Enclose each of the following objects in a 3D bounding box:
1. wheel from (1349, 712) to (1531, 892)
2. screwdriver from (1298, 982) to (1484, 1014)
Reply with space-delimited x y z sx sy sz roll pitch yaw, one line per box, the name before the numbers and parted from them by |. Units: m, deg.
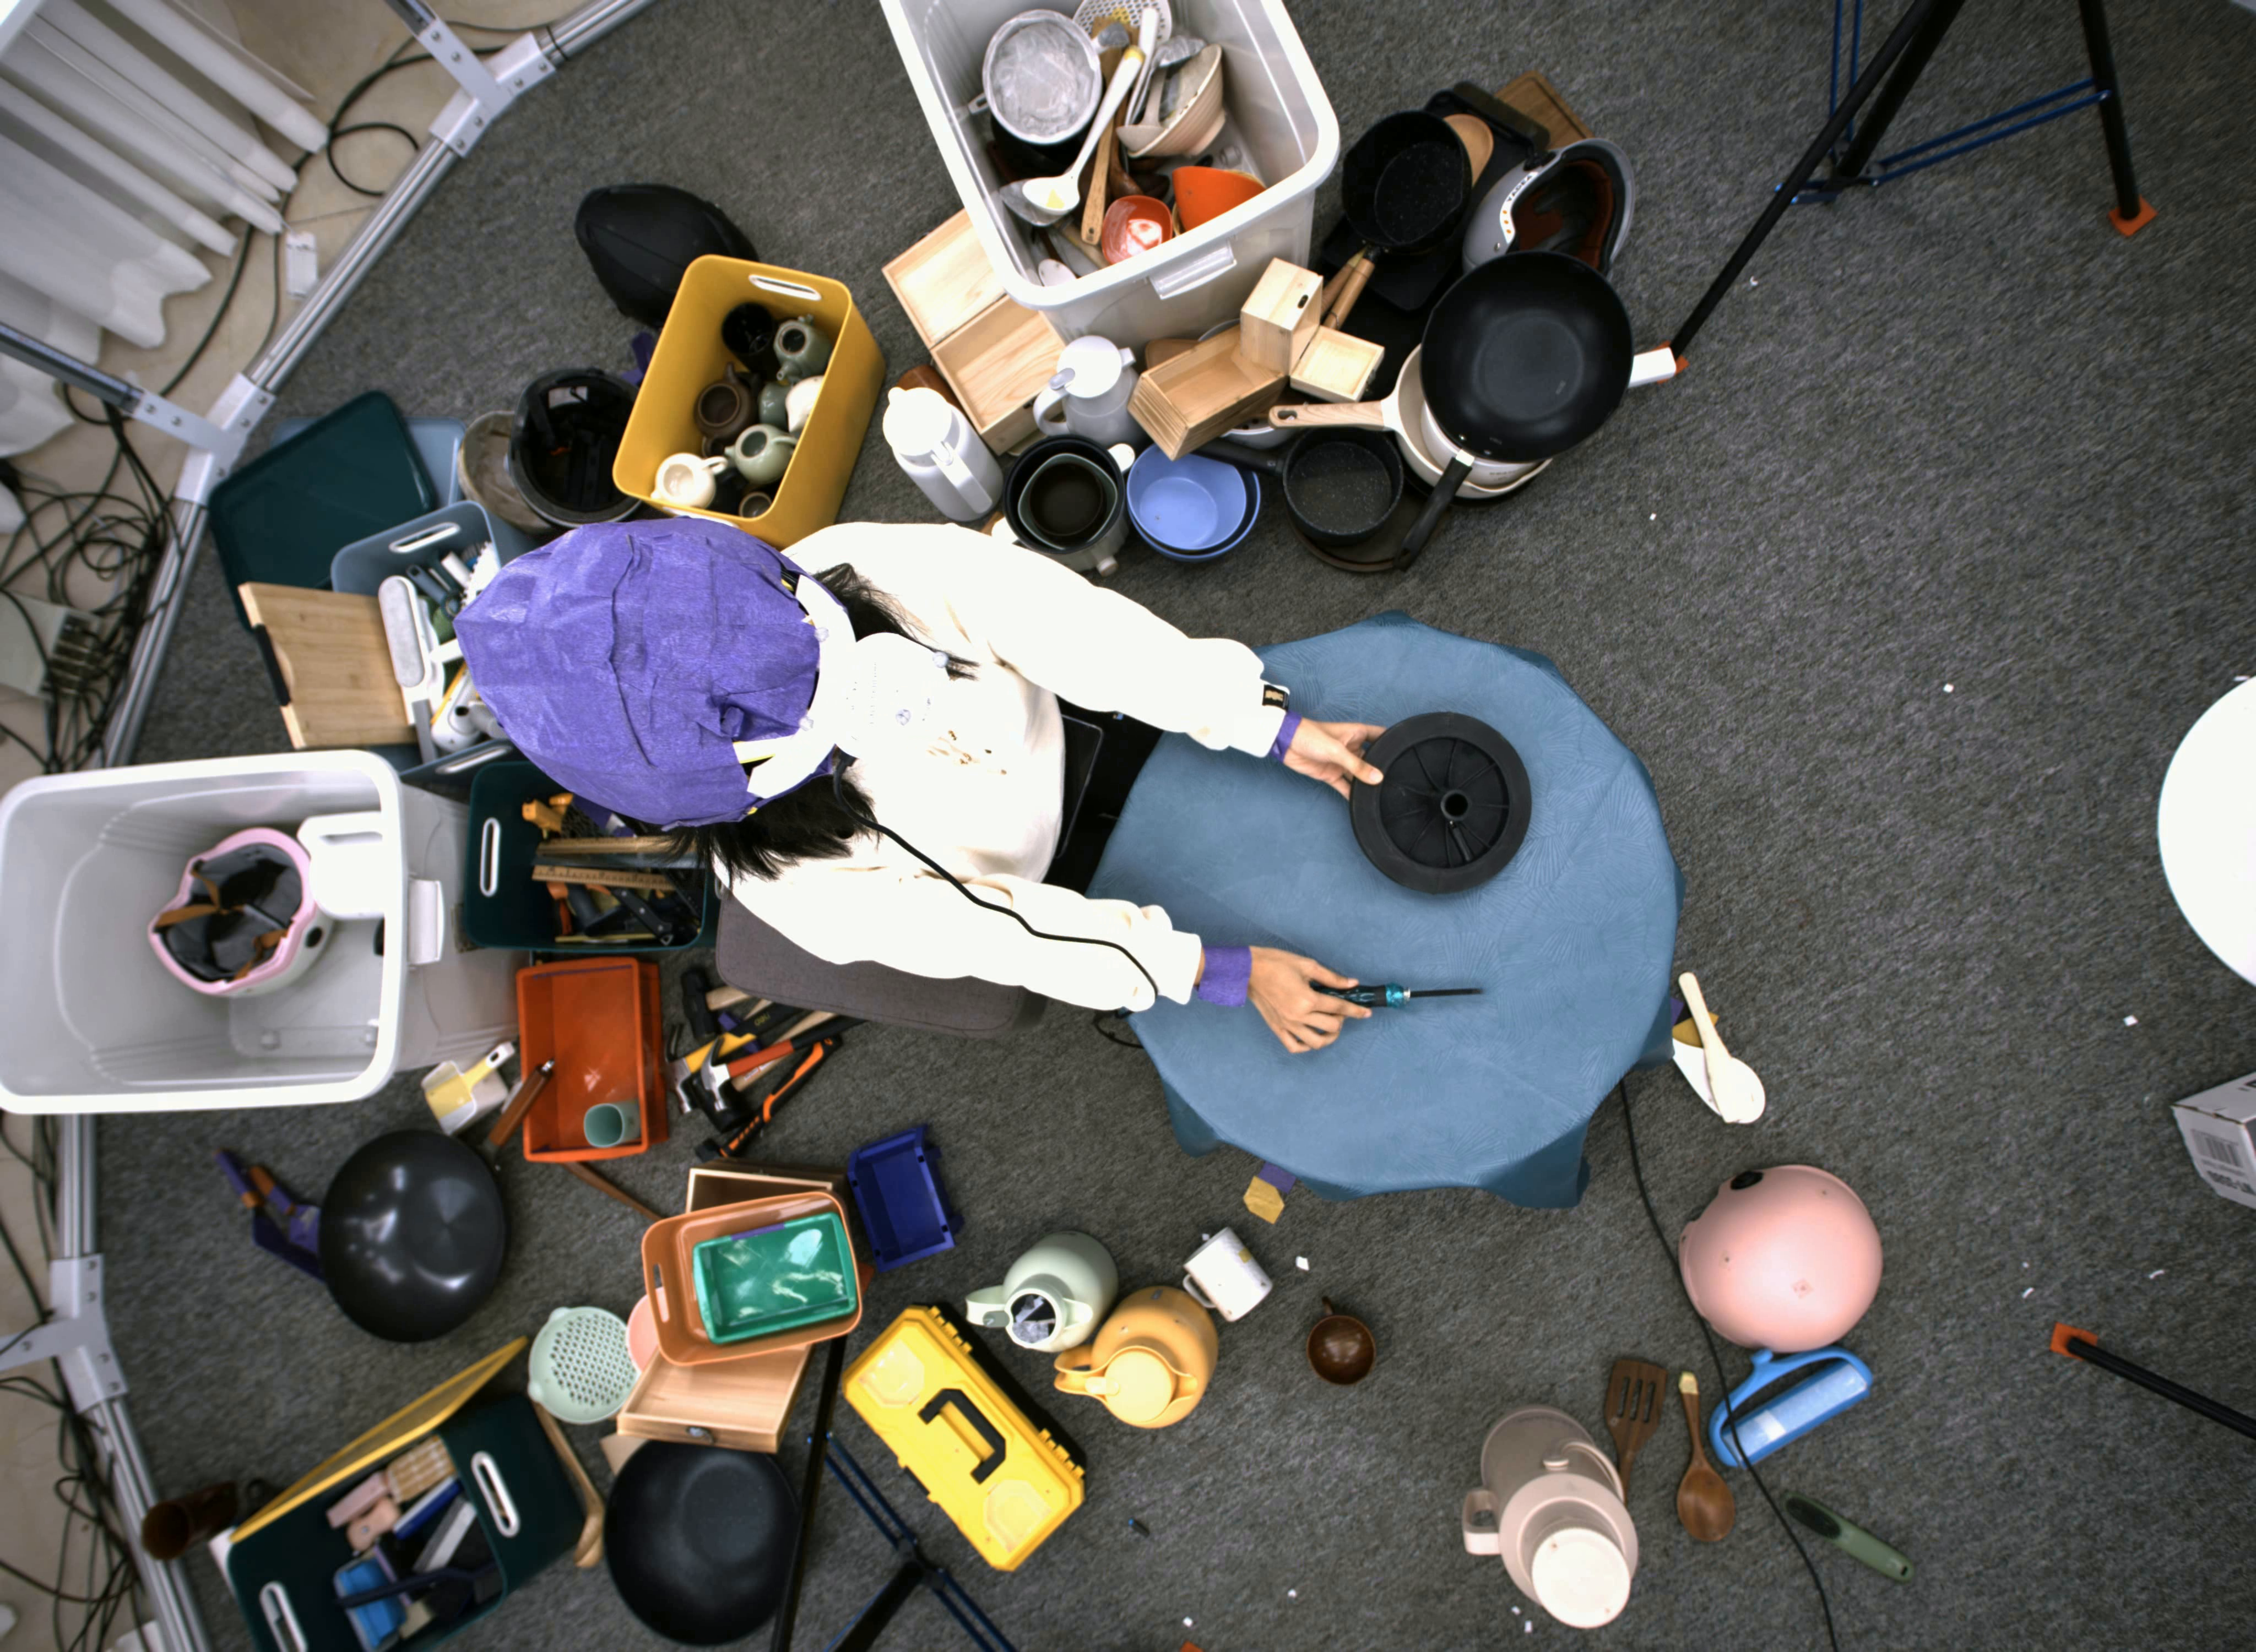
wheel | 0.324 -0.024 1.401 0.190 0.078 0.188 39 94 -7
screwdriver | 0.271 0.173 1.424 0.190 0.034 0.033 -4 84 5
